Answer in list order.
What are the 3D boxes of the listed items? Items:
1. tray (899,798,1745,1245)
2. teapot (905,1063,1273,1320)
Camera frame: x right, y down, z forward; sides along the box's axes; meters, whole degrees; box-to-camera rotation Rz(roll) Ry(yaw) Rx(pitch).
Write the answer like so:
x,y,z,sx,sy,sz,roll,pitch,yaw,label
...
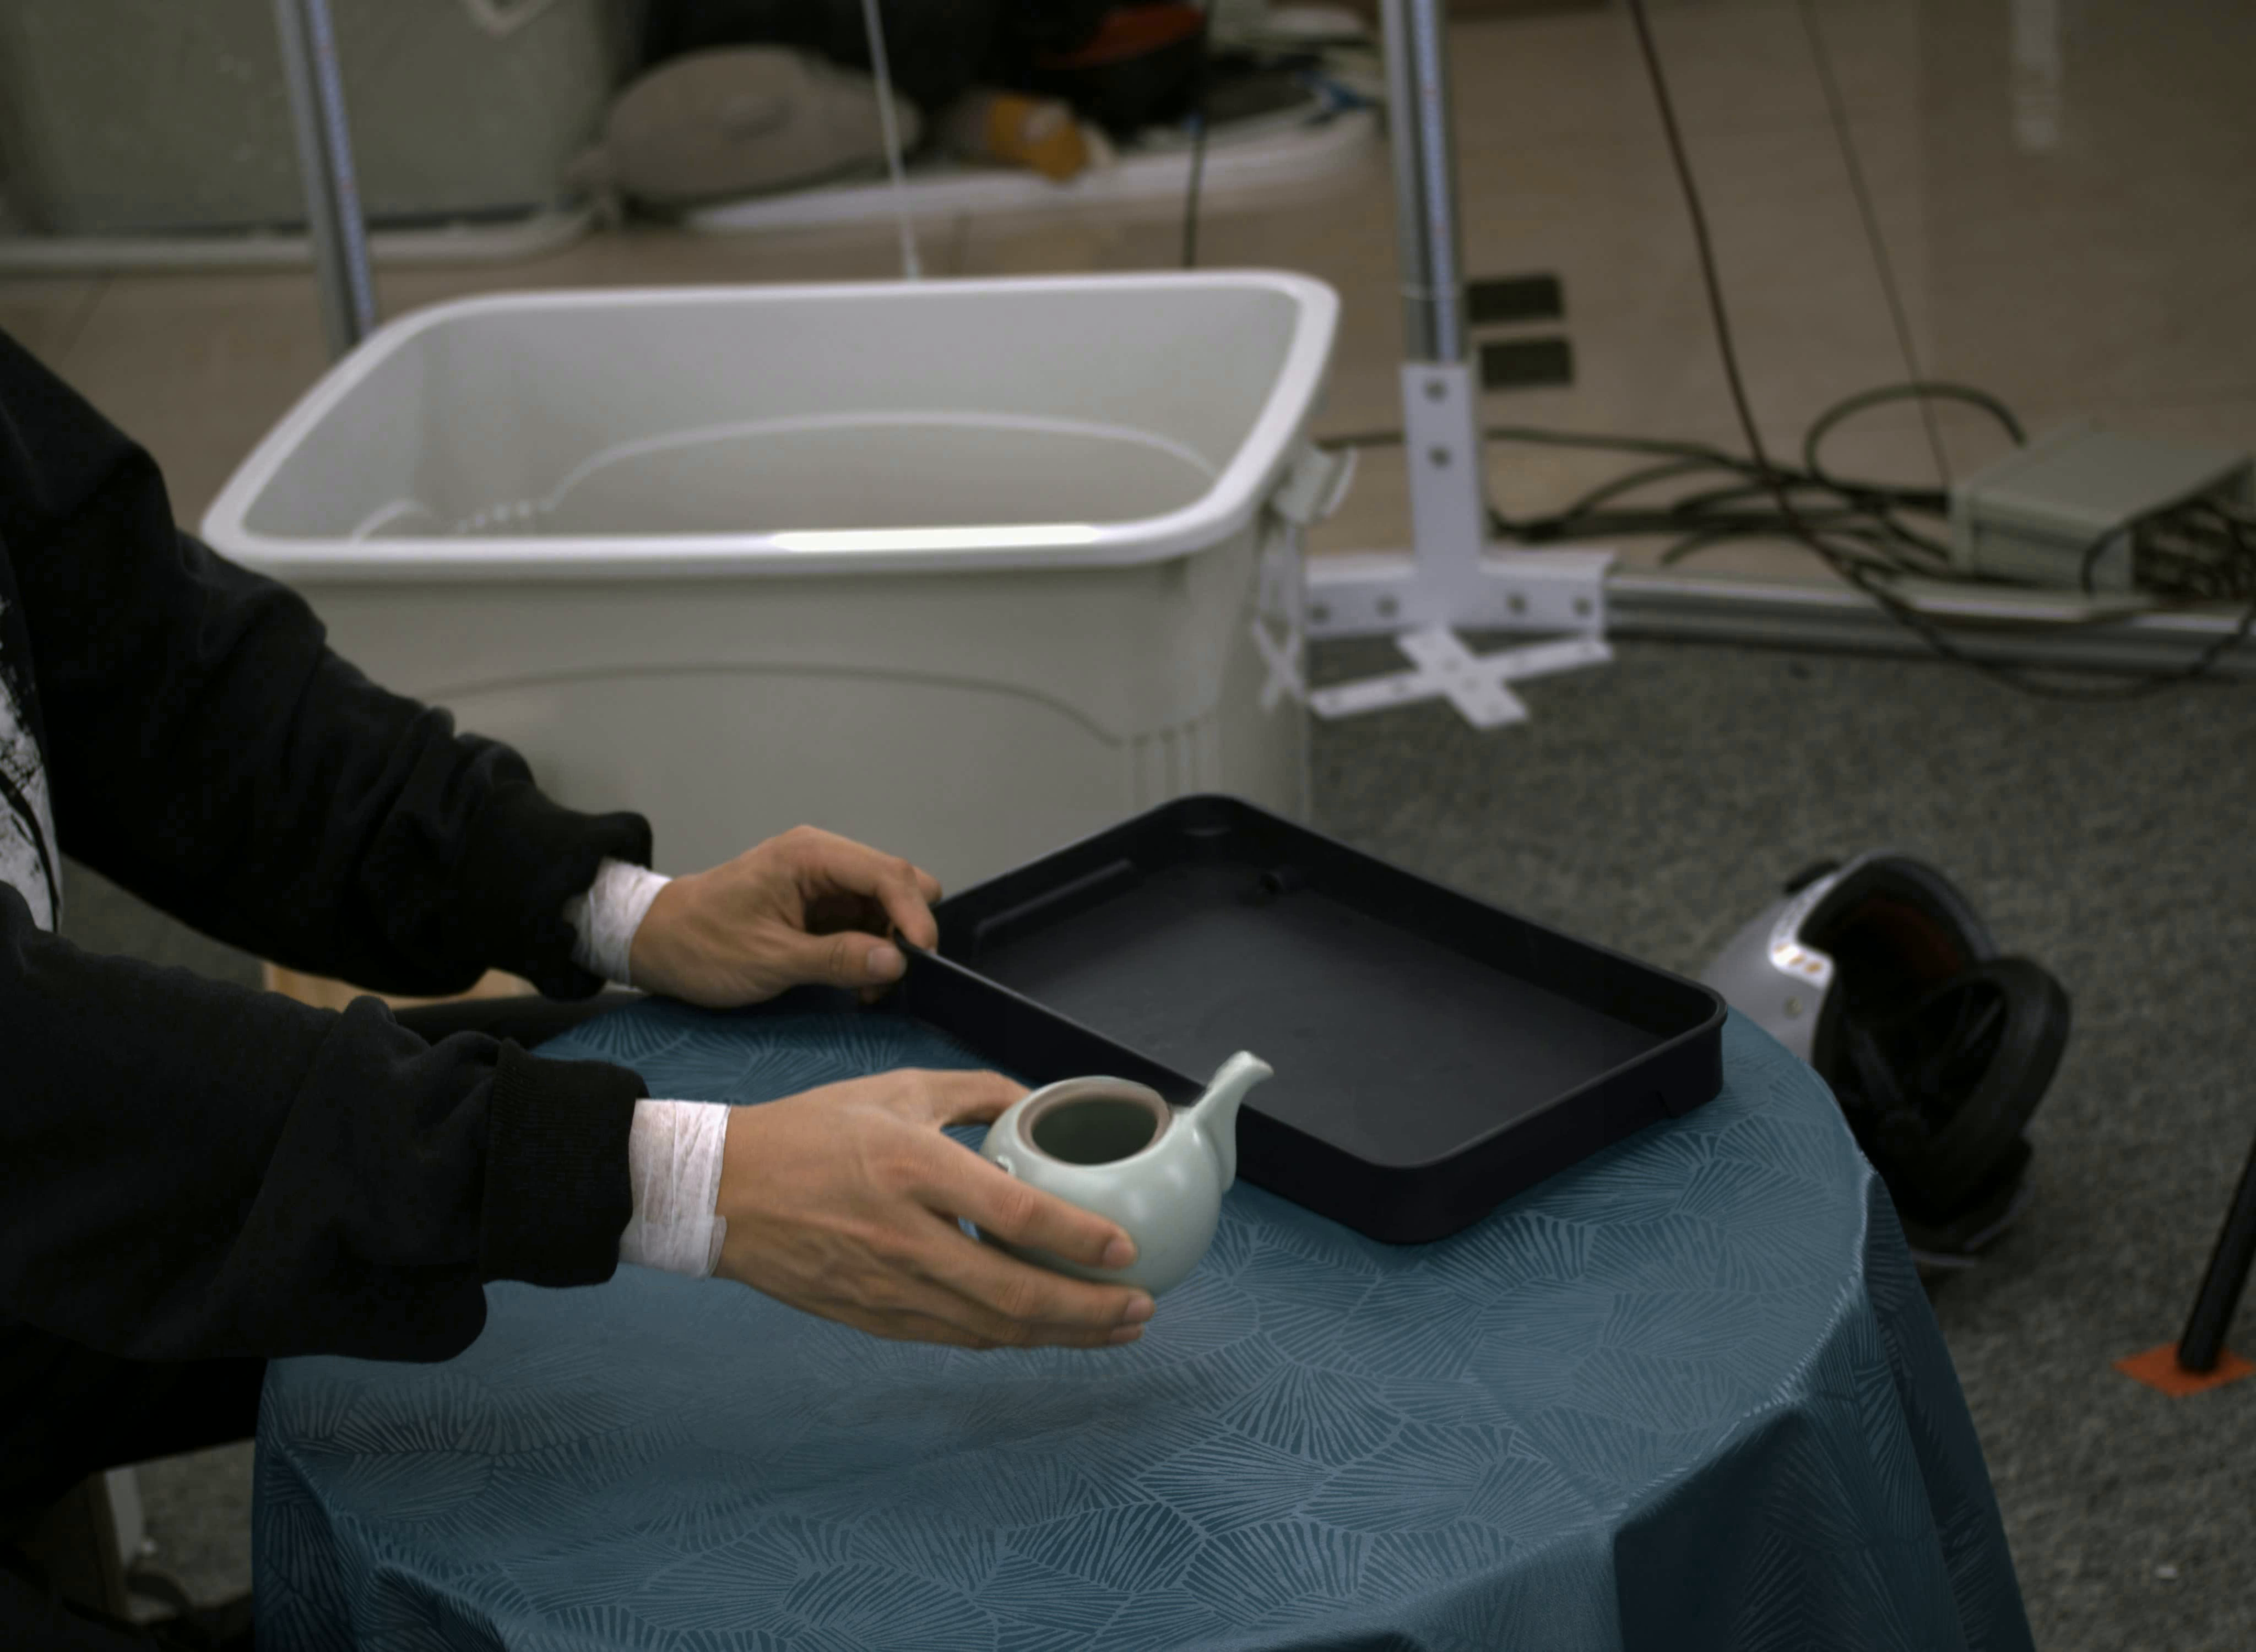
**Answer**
x,y,z,sx,sy,sz,roll,pitch,yaw,label
0.073,0.072,2.226,0.183,0.037,0.315,-25,31,-36,tray
-0.013,0.131,1.988,0.143,0.076,0.087,-14,33,-23,teapot
